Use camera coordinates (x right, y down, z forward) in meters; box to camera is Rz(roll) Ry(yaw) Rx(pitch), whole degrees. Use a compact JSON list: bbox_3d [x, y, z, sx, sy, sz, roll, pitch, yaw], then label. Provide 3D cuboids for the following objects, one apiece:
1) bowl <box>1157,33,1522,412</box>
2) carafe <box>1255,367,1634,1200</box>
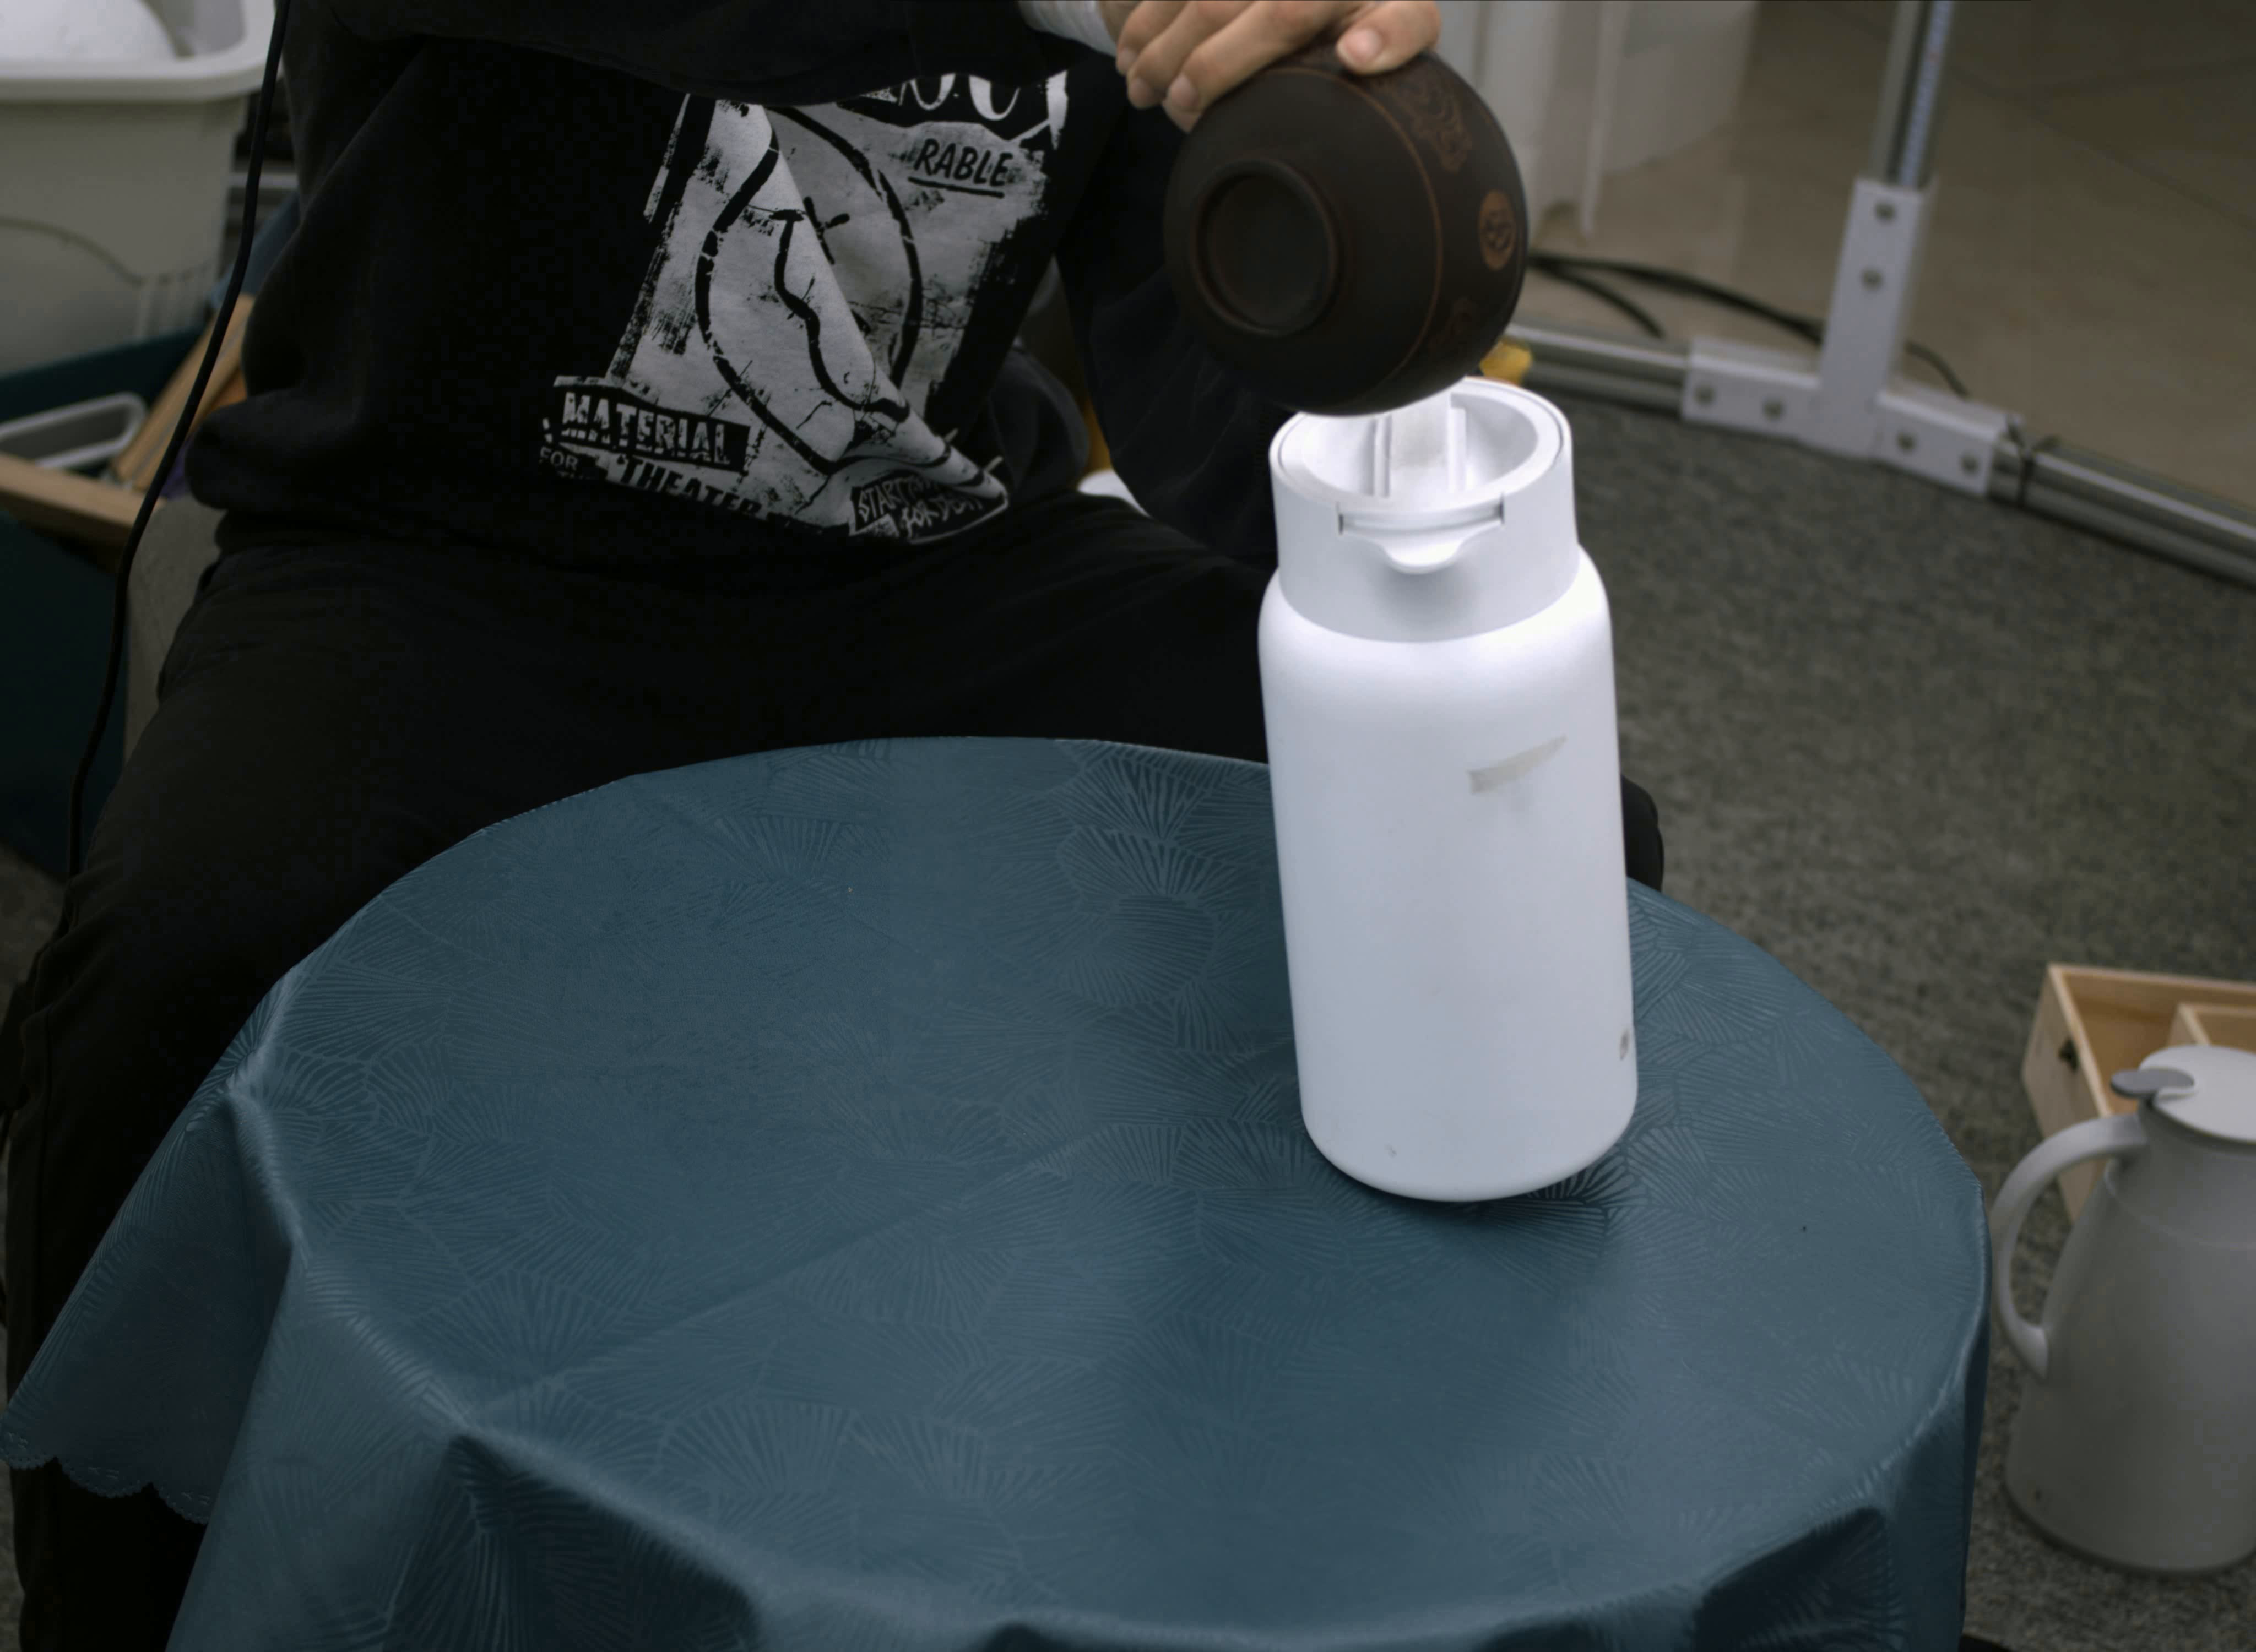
[{"bbox_3d":[0.057,-0.186,1.660,0.119,0.118,0.069,26,26,32],"label":"bowl"},{"bbox_3d":[0.105,-0.021,1.804,0.123,0.267,0.174,-6,30,5],"label":"carafe"}]
